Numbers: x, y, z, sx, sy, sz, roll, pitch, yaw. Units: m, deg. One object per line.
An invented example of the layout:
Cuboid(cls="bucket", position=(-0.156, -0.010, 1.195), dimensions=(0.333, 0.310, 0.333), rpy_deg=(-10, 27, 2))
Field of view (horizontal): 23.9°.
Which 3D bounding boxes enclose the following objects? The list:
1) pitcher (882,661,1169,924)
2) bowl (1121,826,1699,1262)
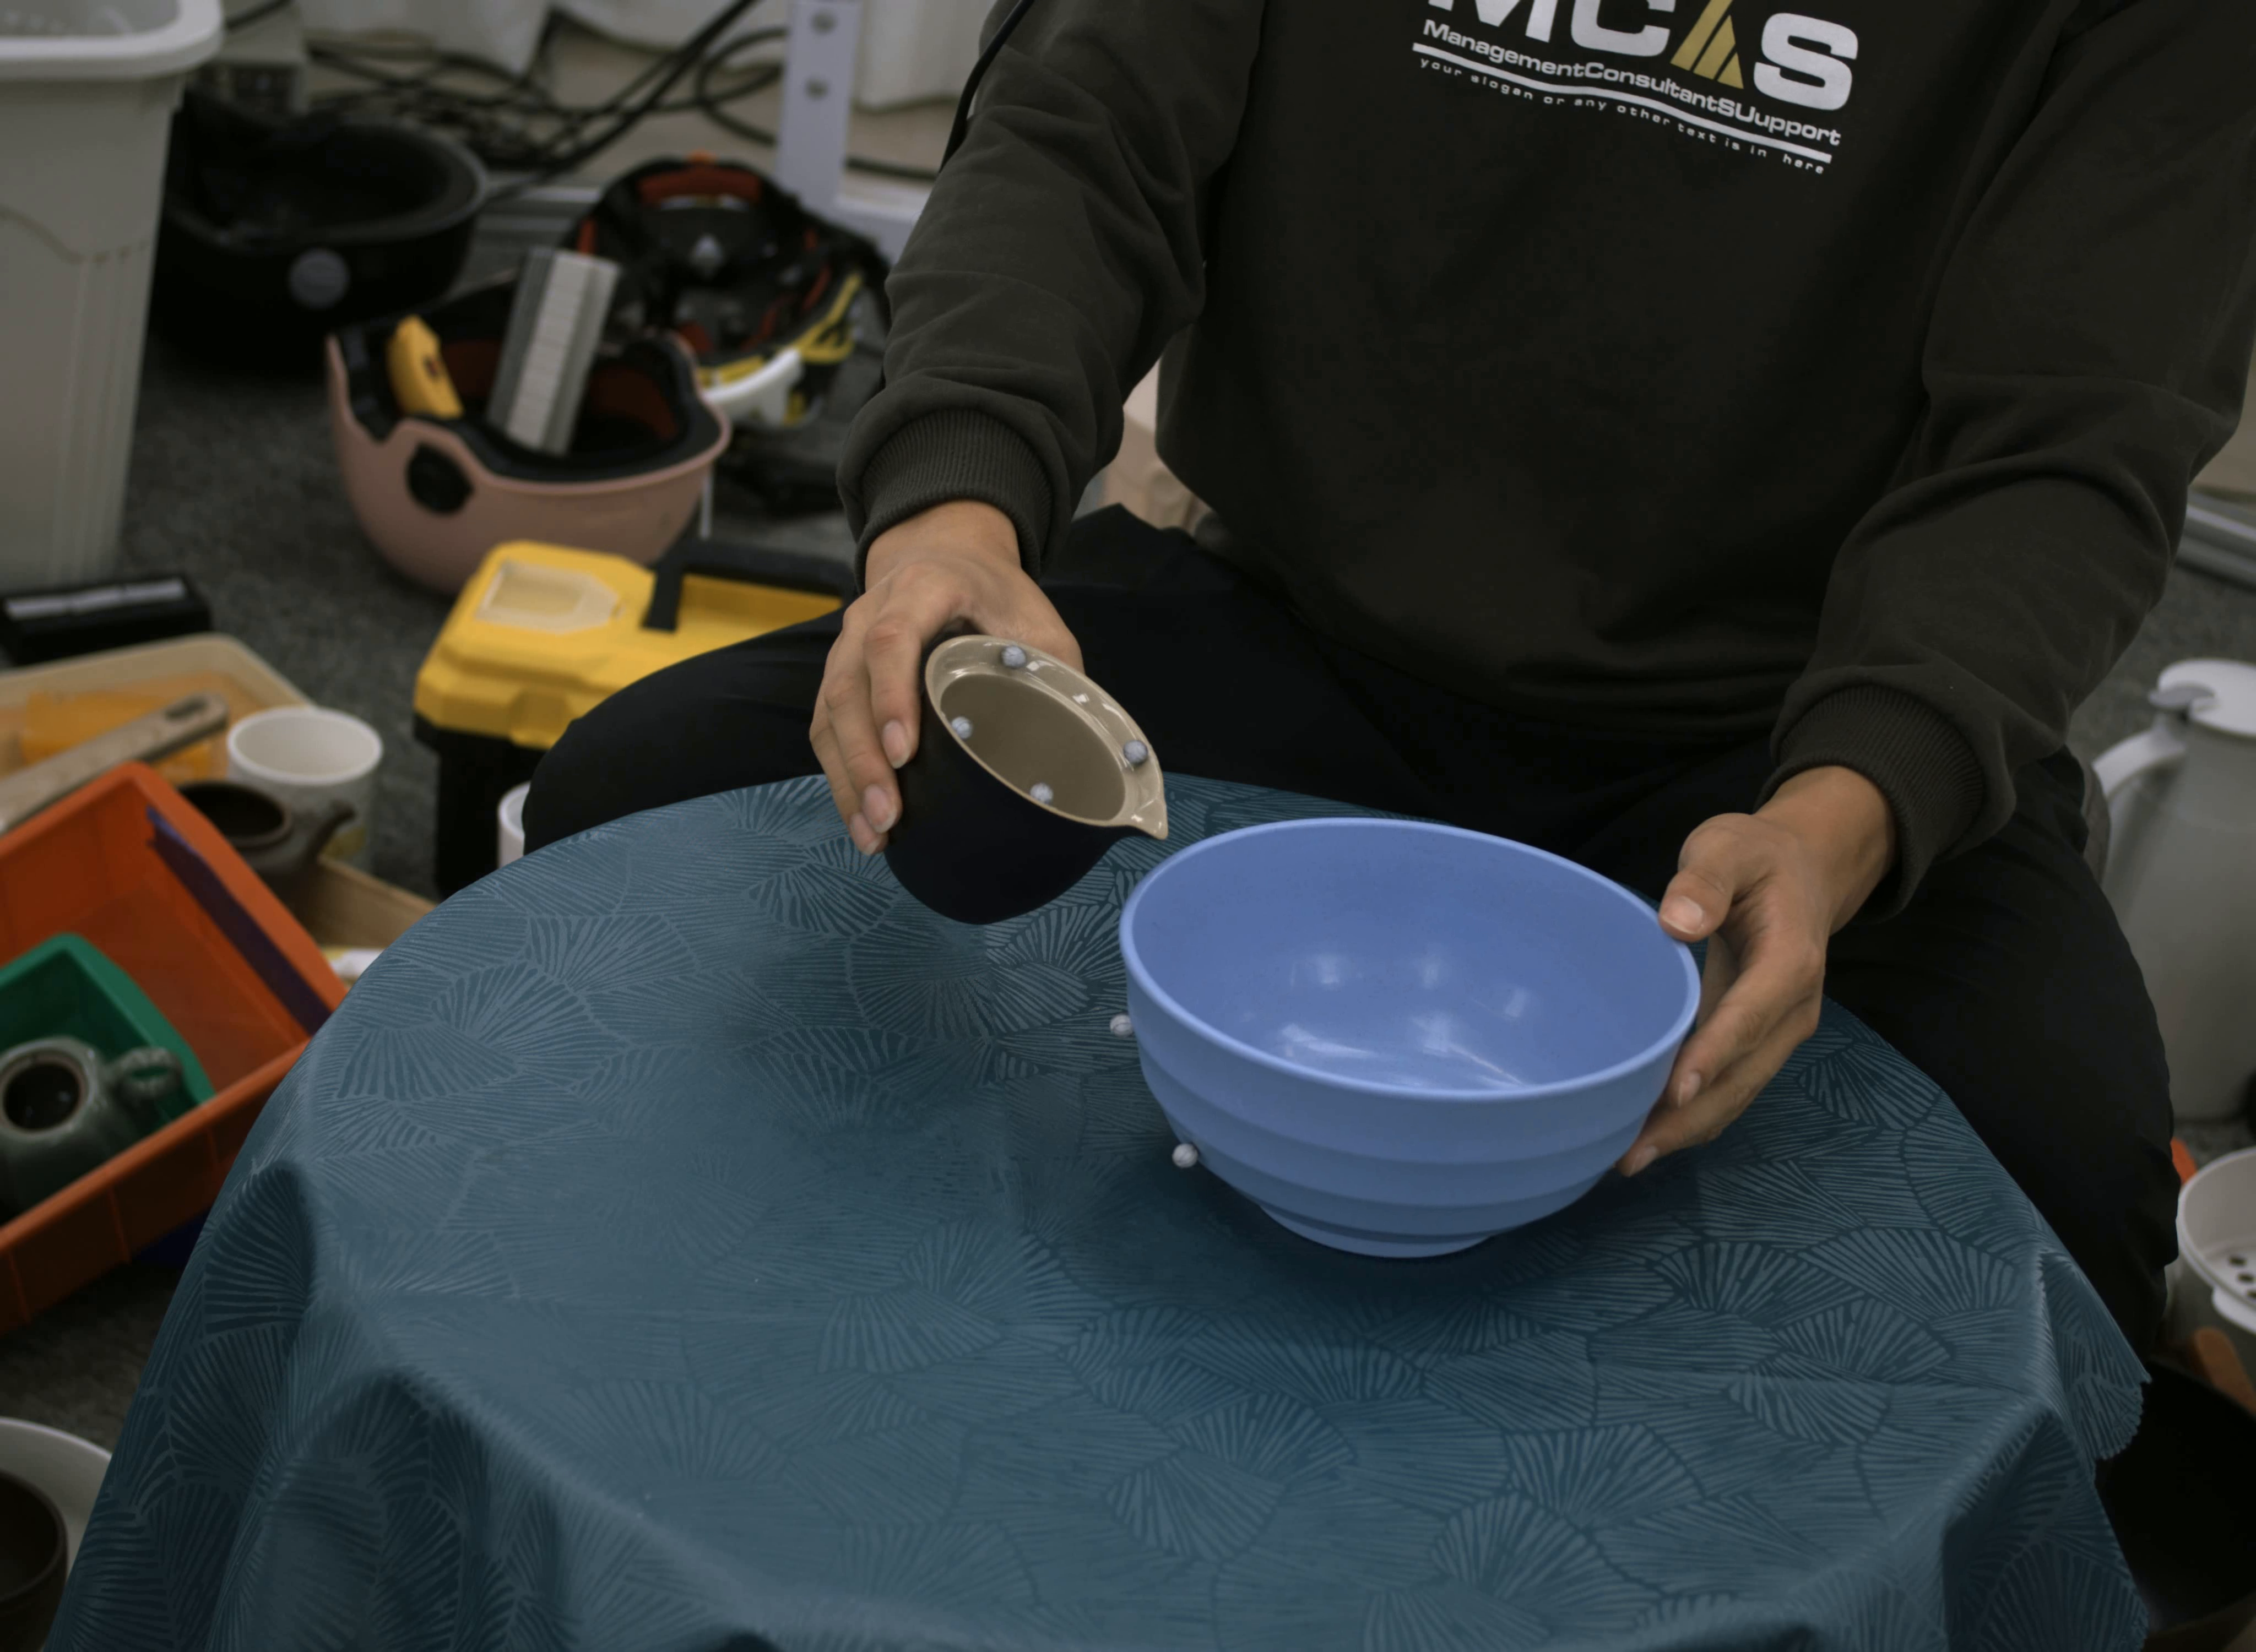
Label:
Cuboid(cls="pitcher", position=(-0.041, -0.006, 1.829), dimensions=(0.096, 0.071, 0.083), rpy_deg=(38, 29, 6))
Cuboid(cls="bowl", position=(0.089, 0.084, 1.804), dimensions=(0.196, 0.095, 0.197), rpy_deg=(6, 25, -3))
